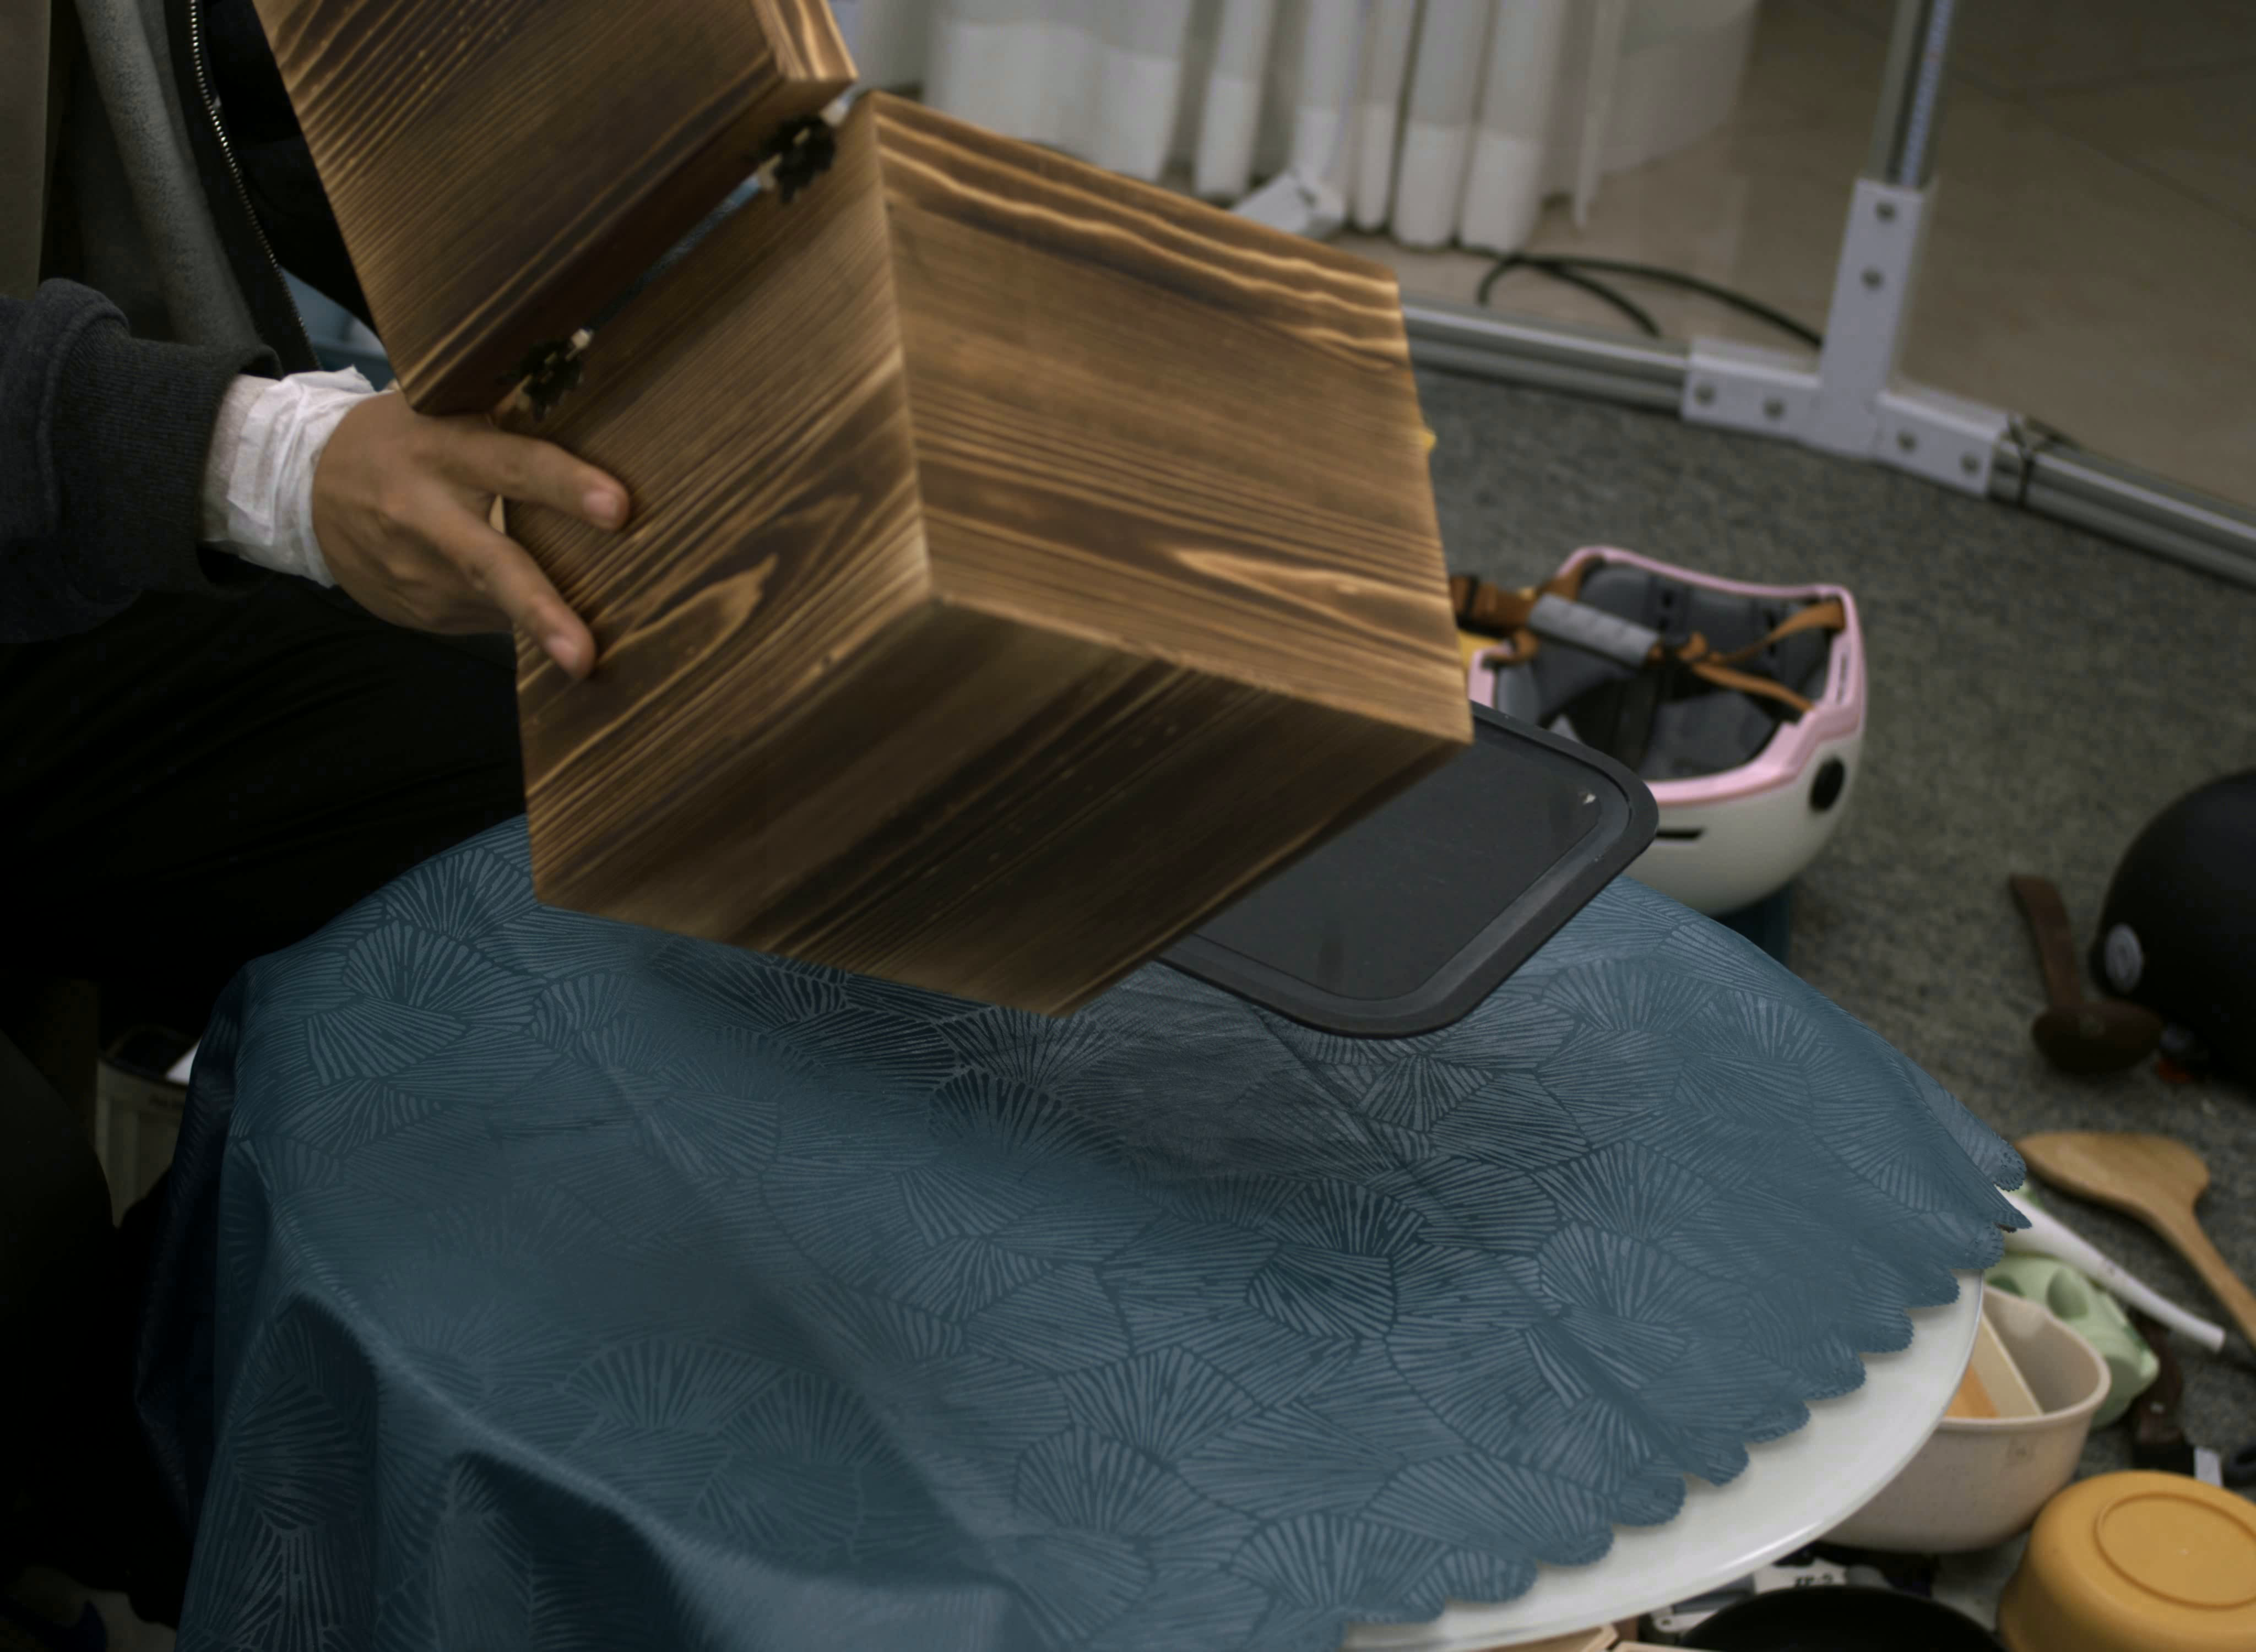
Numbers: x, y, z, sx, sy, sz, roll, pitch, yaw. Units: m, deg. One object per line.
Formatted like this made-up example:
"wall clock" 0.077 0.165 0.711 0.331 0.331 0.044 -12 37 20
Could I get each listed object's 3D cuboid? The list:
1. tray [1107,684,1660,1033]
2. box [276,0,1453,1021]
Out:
"tray" 0.013 -0.023 1.889 0.327 0.010 0.211 23 37 25
"box" -0.097 -0.171 1.609 0.319 0.209 0.378 14 57 -36
